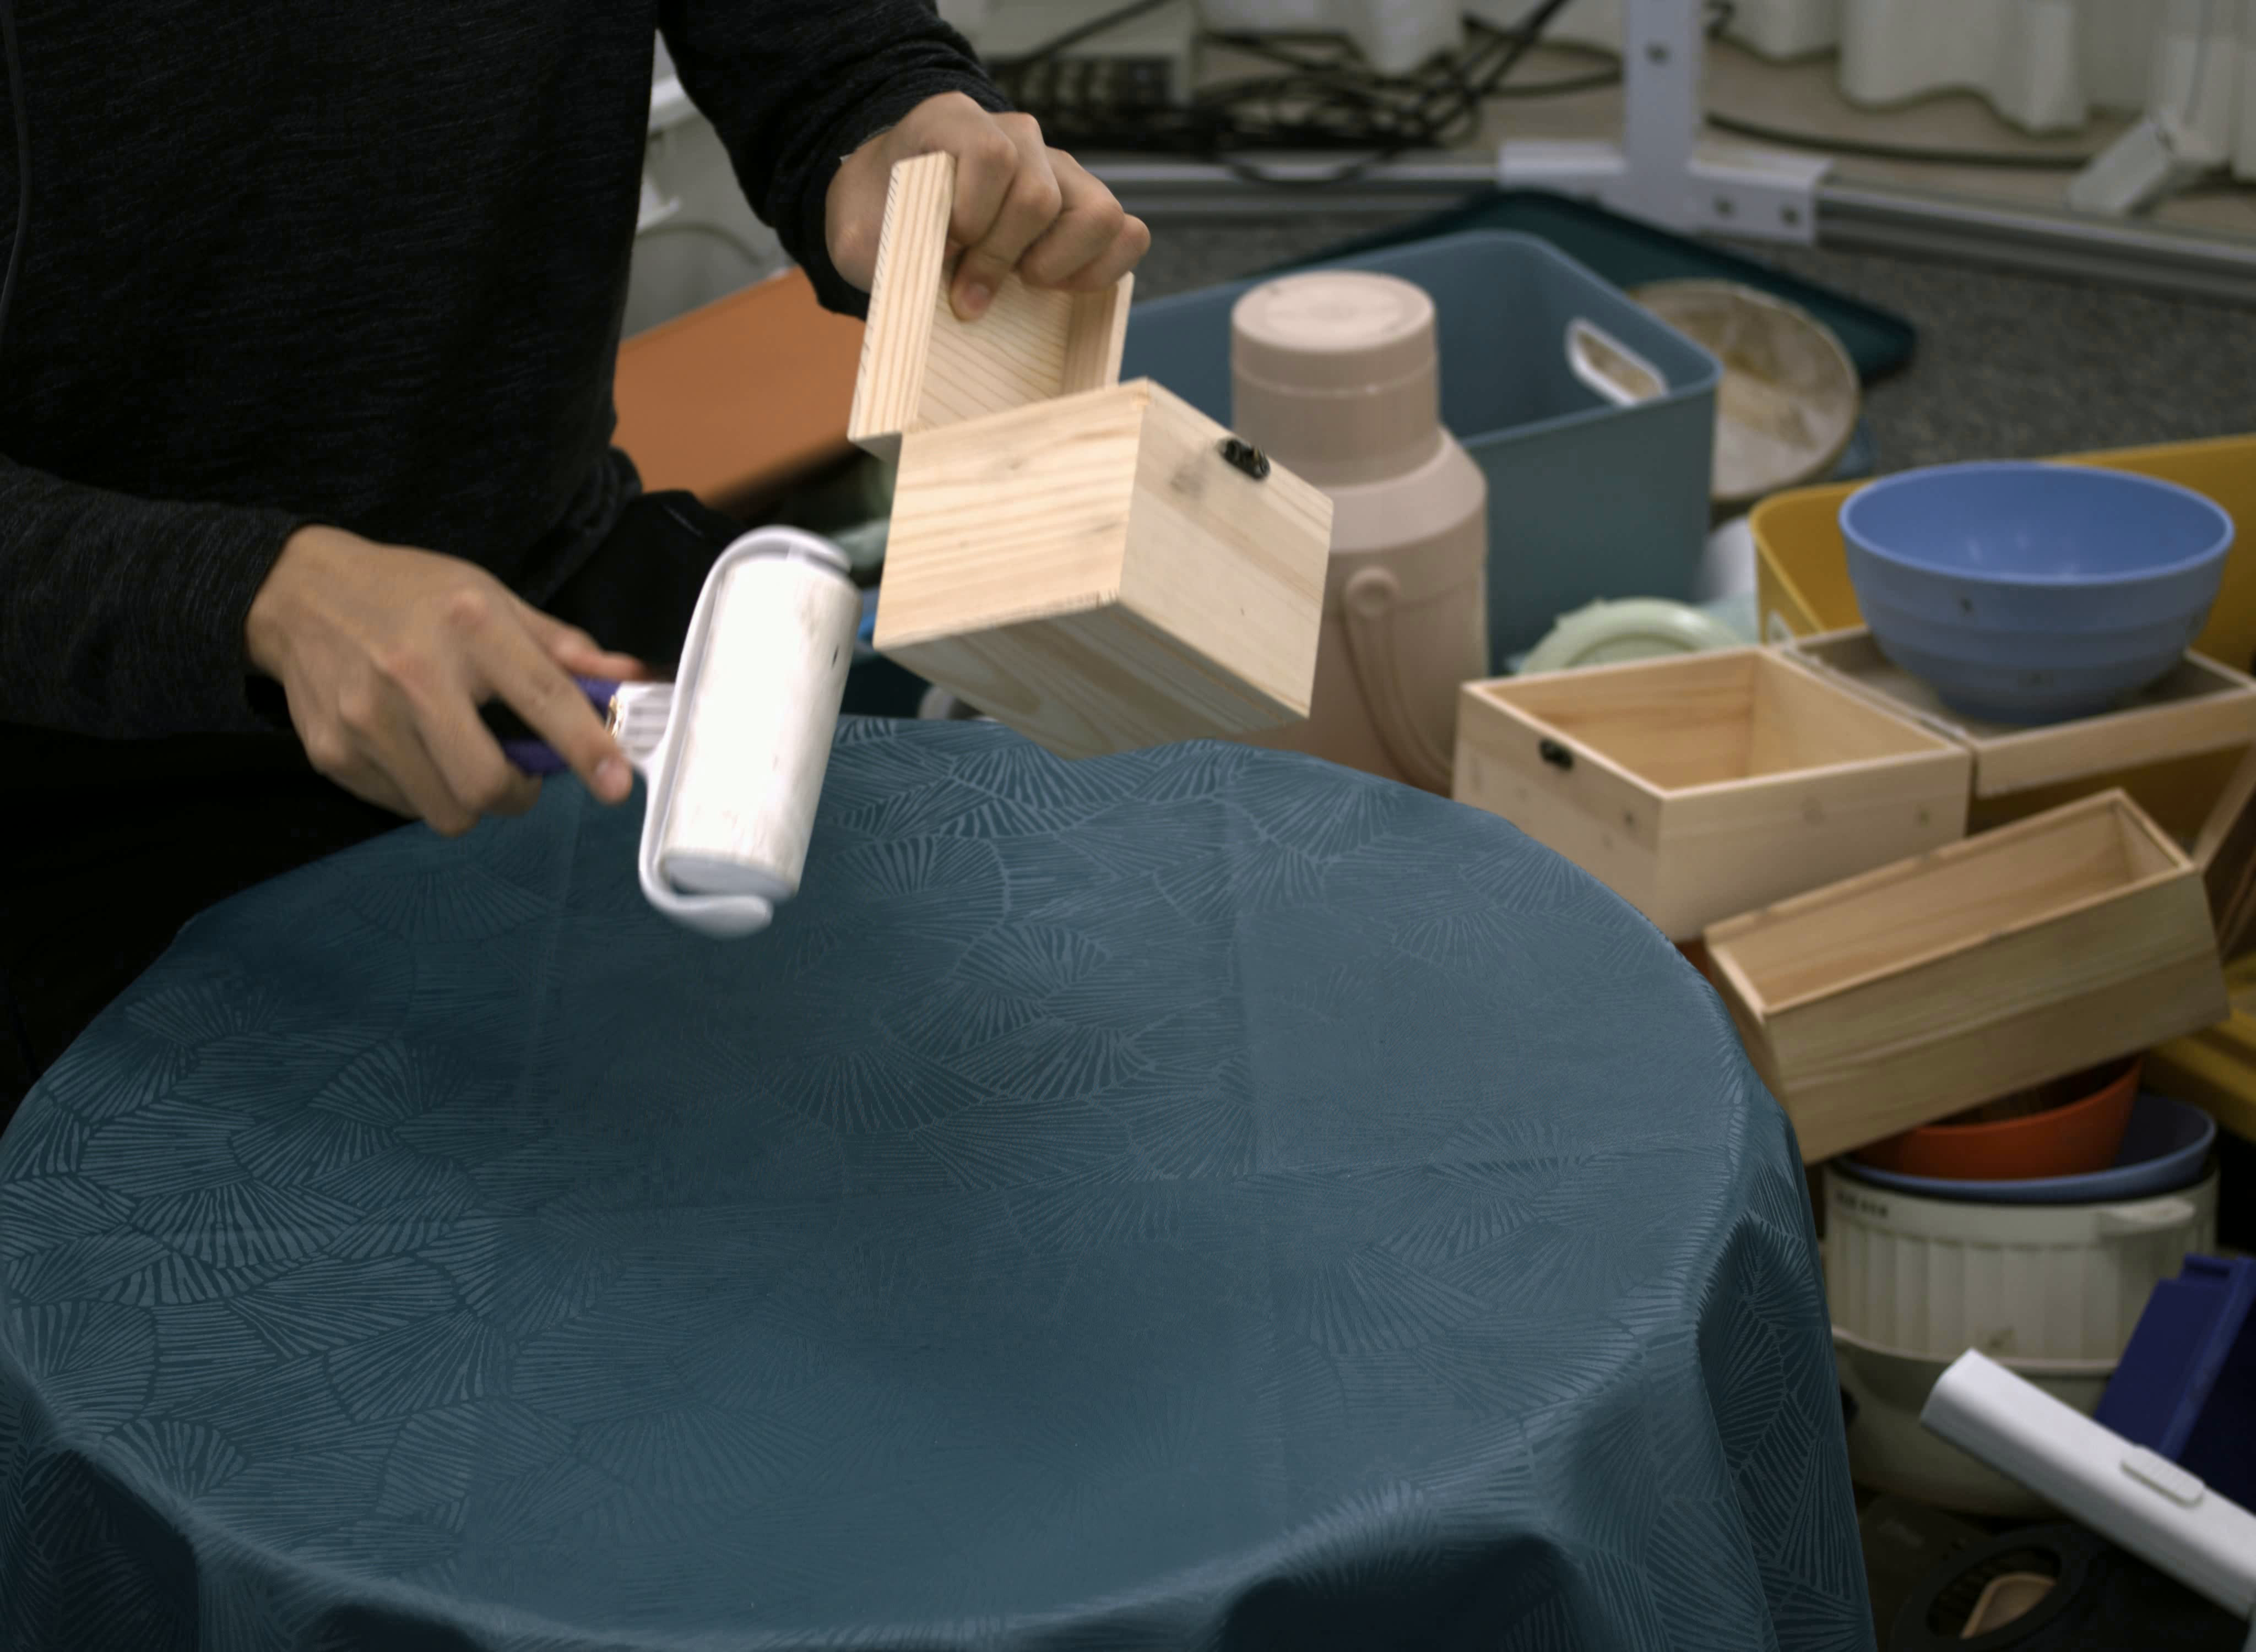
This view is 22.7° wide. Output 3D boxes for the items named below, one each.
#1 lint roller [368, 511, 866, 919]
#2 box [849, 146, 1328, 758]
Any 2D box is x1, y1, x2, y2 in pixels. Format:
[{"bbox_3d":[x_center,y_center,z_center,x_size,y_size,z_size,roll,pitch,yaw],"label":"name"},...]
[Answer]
[{"bbox_3d":[-0.176,-0.042,1.827,0.179,0.135,0.050,6,-18,23],"label":"lint roller"},{"bbox_3d":[-0.009,-0.131,1.835,0.132,0.102,0.188,-11,60,35],"label":"box"}]
